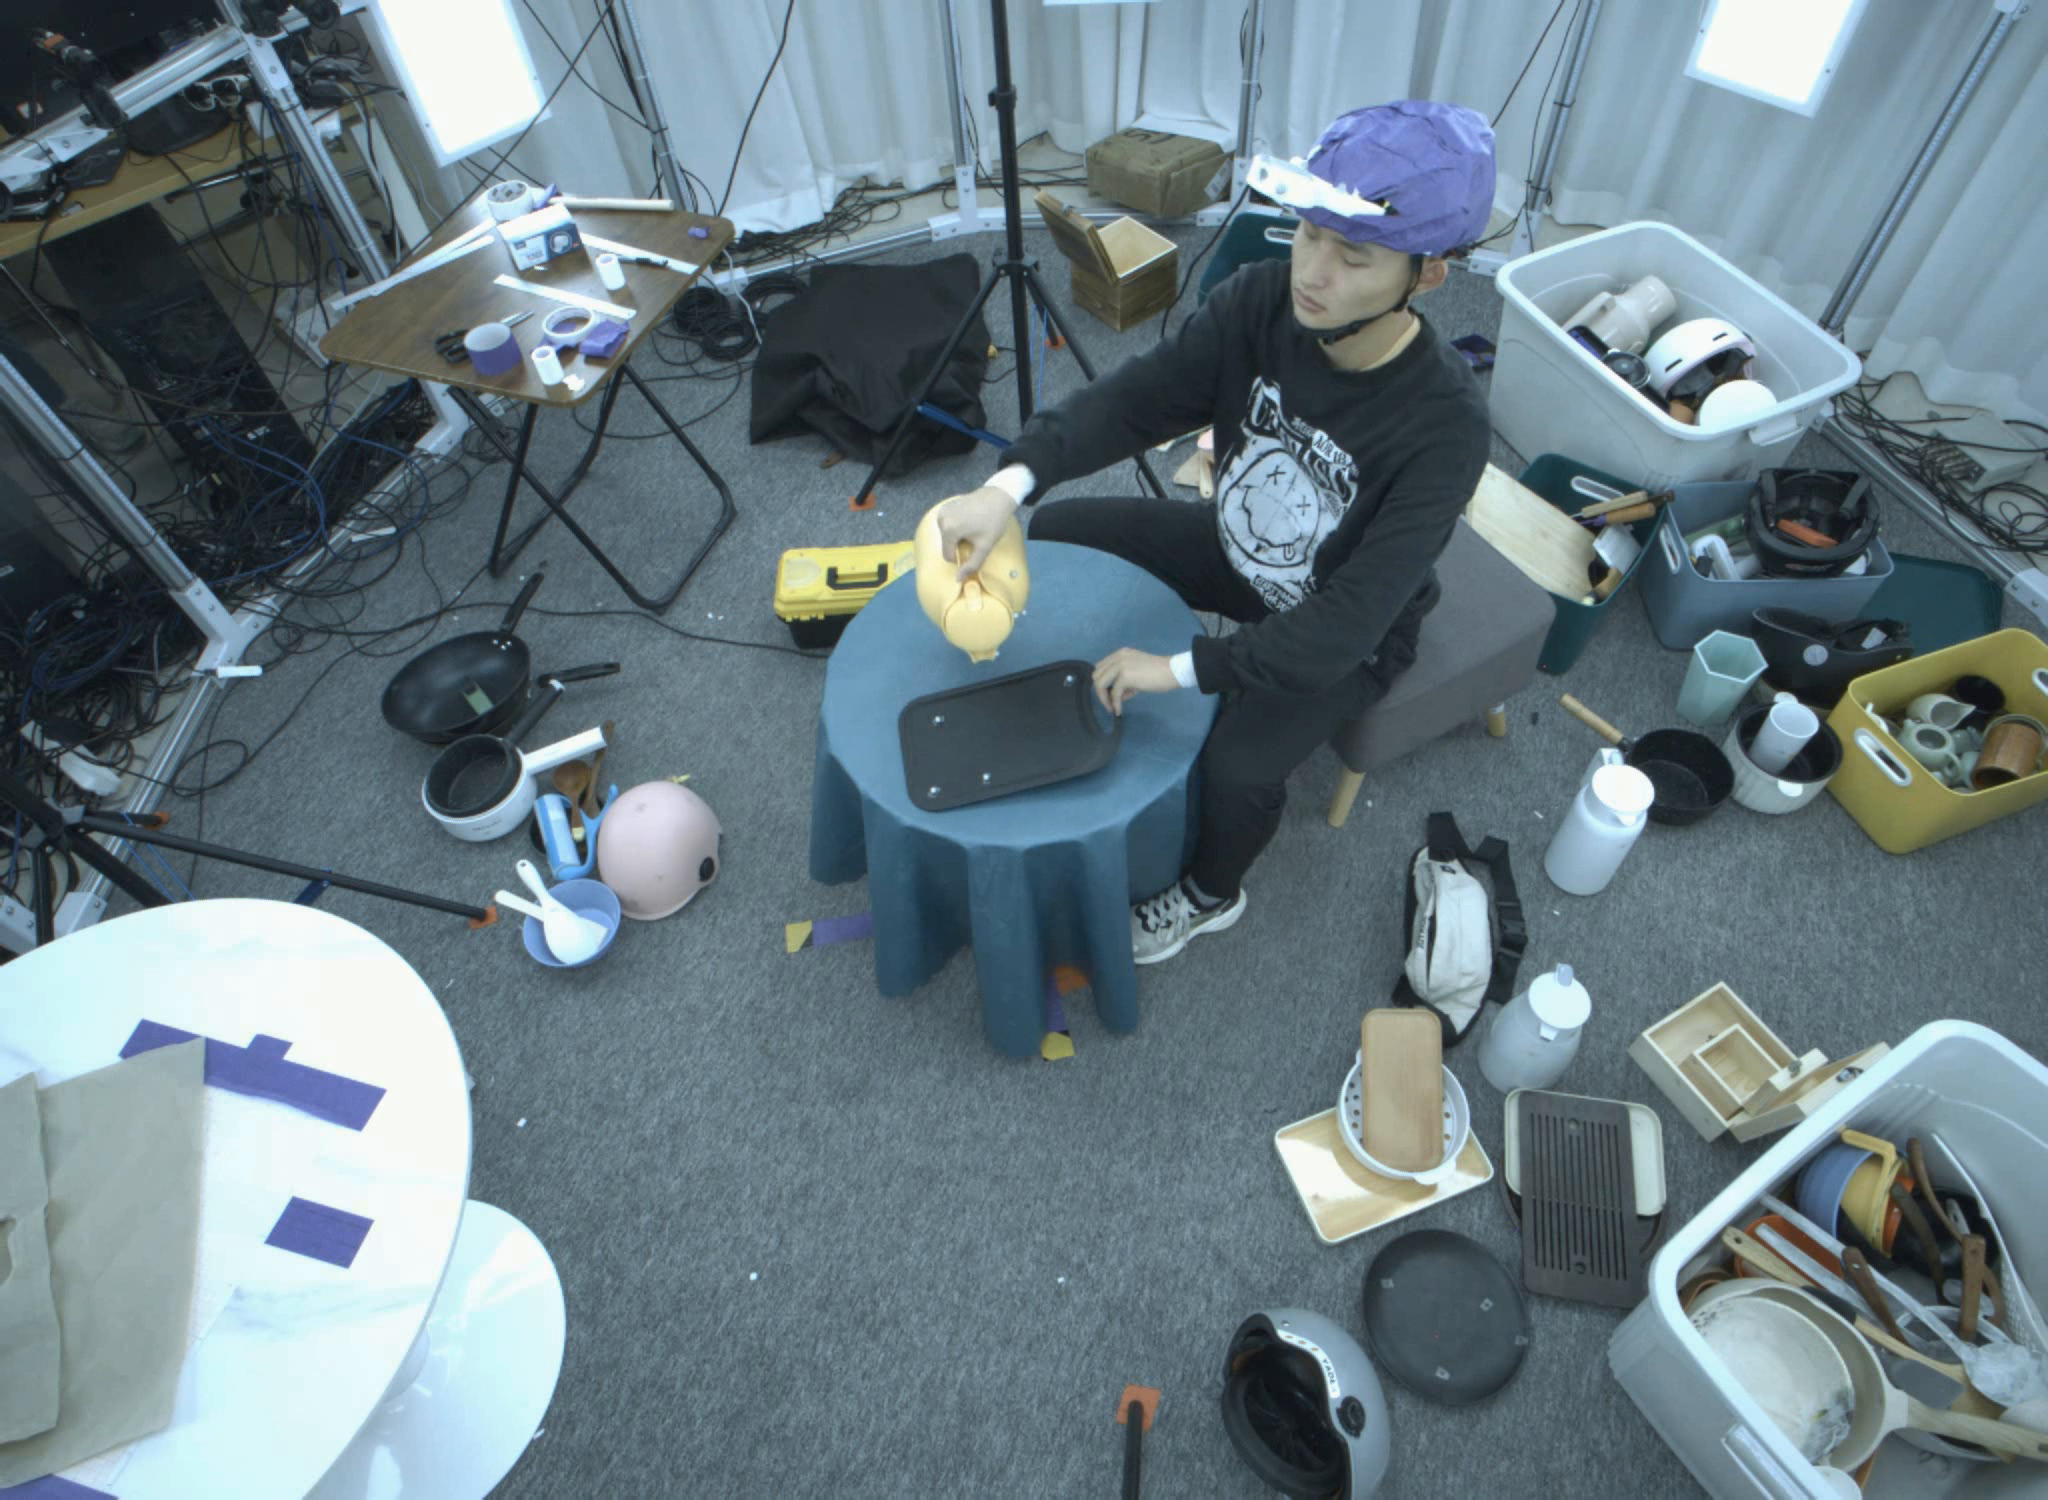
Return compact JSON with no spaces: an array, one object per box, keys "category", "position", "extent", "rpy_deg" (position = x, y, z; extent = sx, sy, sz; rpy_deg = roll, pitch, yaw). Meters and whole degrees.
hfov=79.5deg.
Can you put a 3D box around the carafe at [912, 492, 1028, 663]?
[{"category":"carafe","position":[-0.075,-0.260,1.720],"extent":[0.164,0.204,0.256],"rpy_deg":[-7,41,-4]}]

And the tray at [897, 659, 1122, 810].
[{"category":"tray","position":[-0.021,-0.029,1.777],"extent":[0.325,0.010,0.208],"rpy_deg":[-13,55,1]}]
